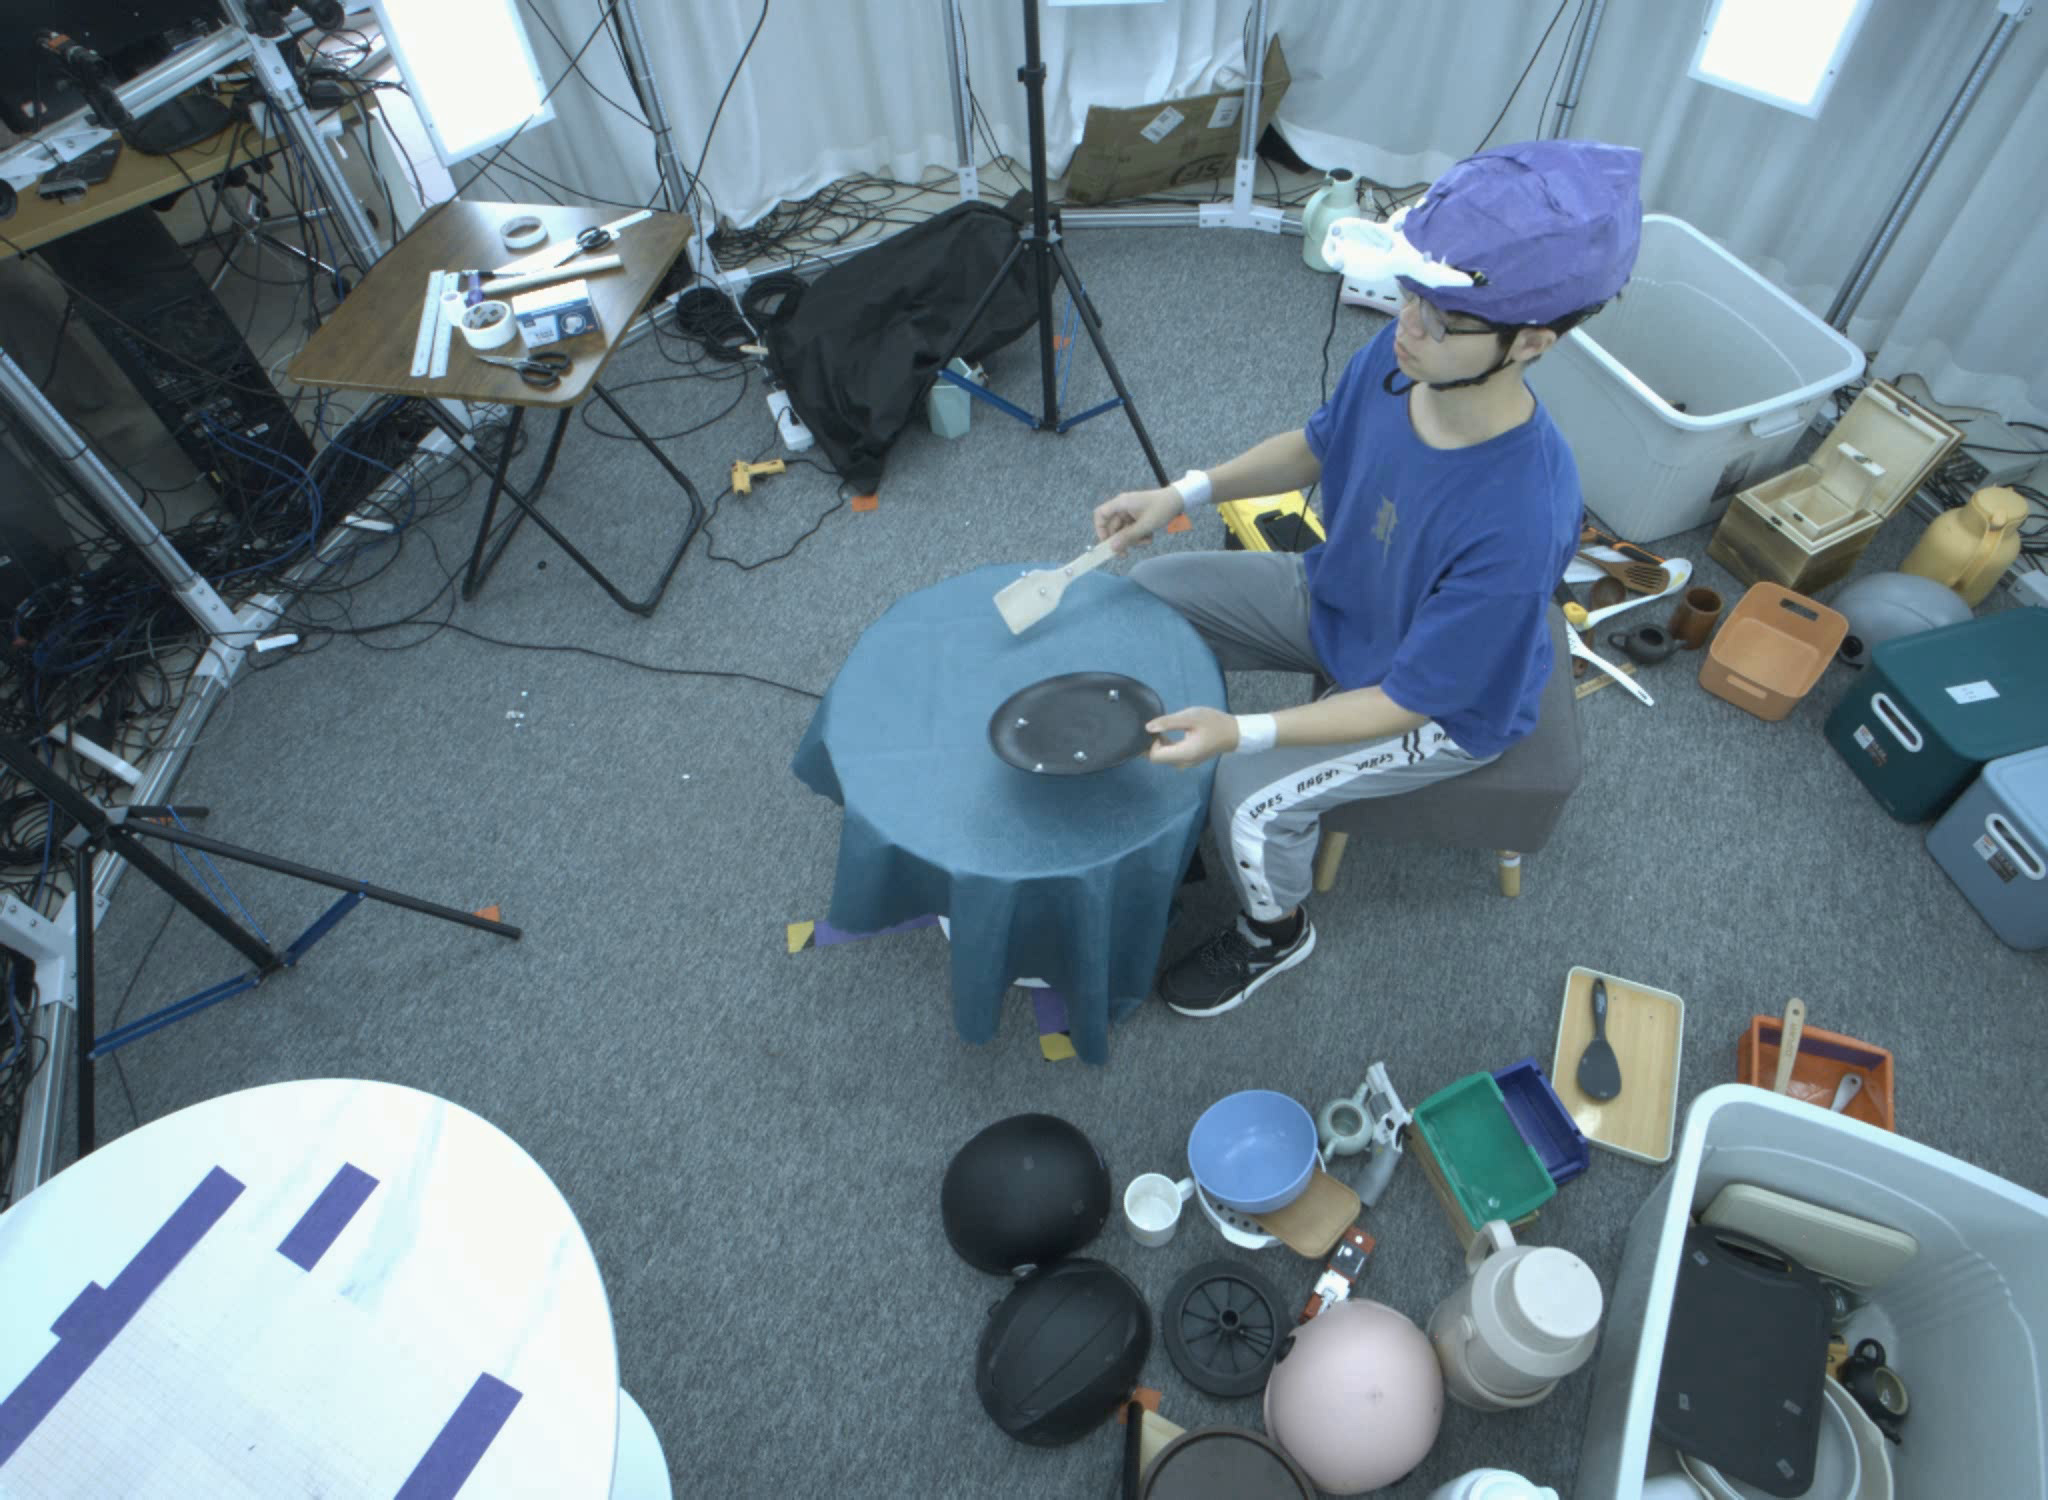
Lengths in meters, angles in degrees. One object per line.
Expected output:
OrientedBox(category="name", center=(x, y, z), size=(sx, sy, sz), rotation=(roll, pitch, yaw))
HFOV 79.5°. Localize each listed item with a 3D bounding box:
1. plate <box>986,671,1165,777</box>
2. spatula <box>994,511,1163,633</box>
OrientedBox(category="plate", center=(0.070, -0.032, 1.666), size=(0.243, 0.024, 0.242), rotation=(-6, 36, 5))
OrientedBox(category="spatula", center=(0.089, -0.286, 1.891), size=(0.294, 0.073, 0.010), rotation=(-33, 17, -7))
